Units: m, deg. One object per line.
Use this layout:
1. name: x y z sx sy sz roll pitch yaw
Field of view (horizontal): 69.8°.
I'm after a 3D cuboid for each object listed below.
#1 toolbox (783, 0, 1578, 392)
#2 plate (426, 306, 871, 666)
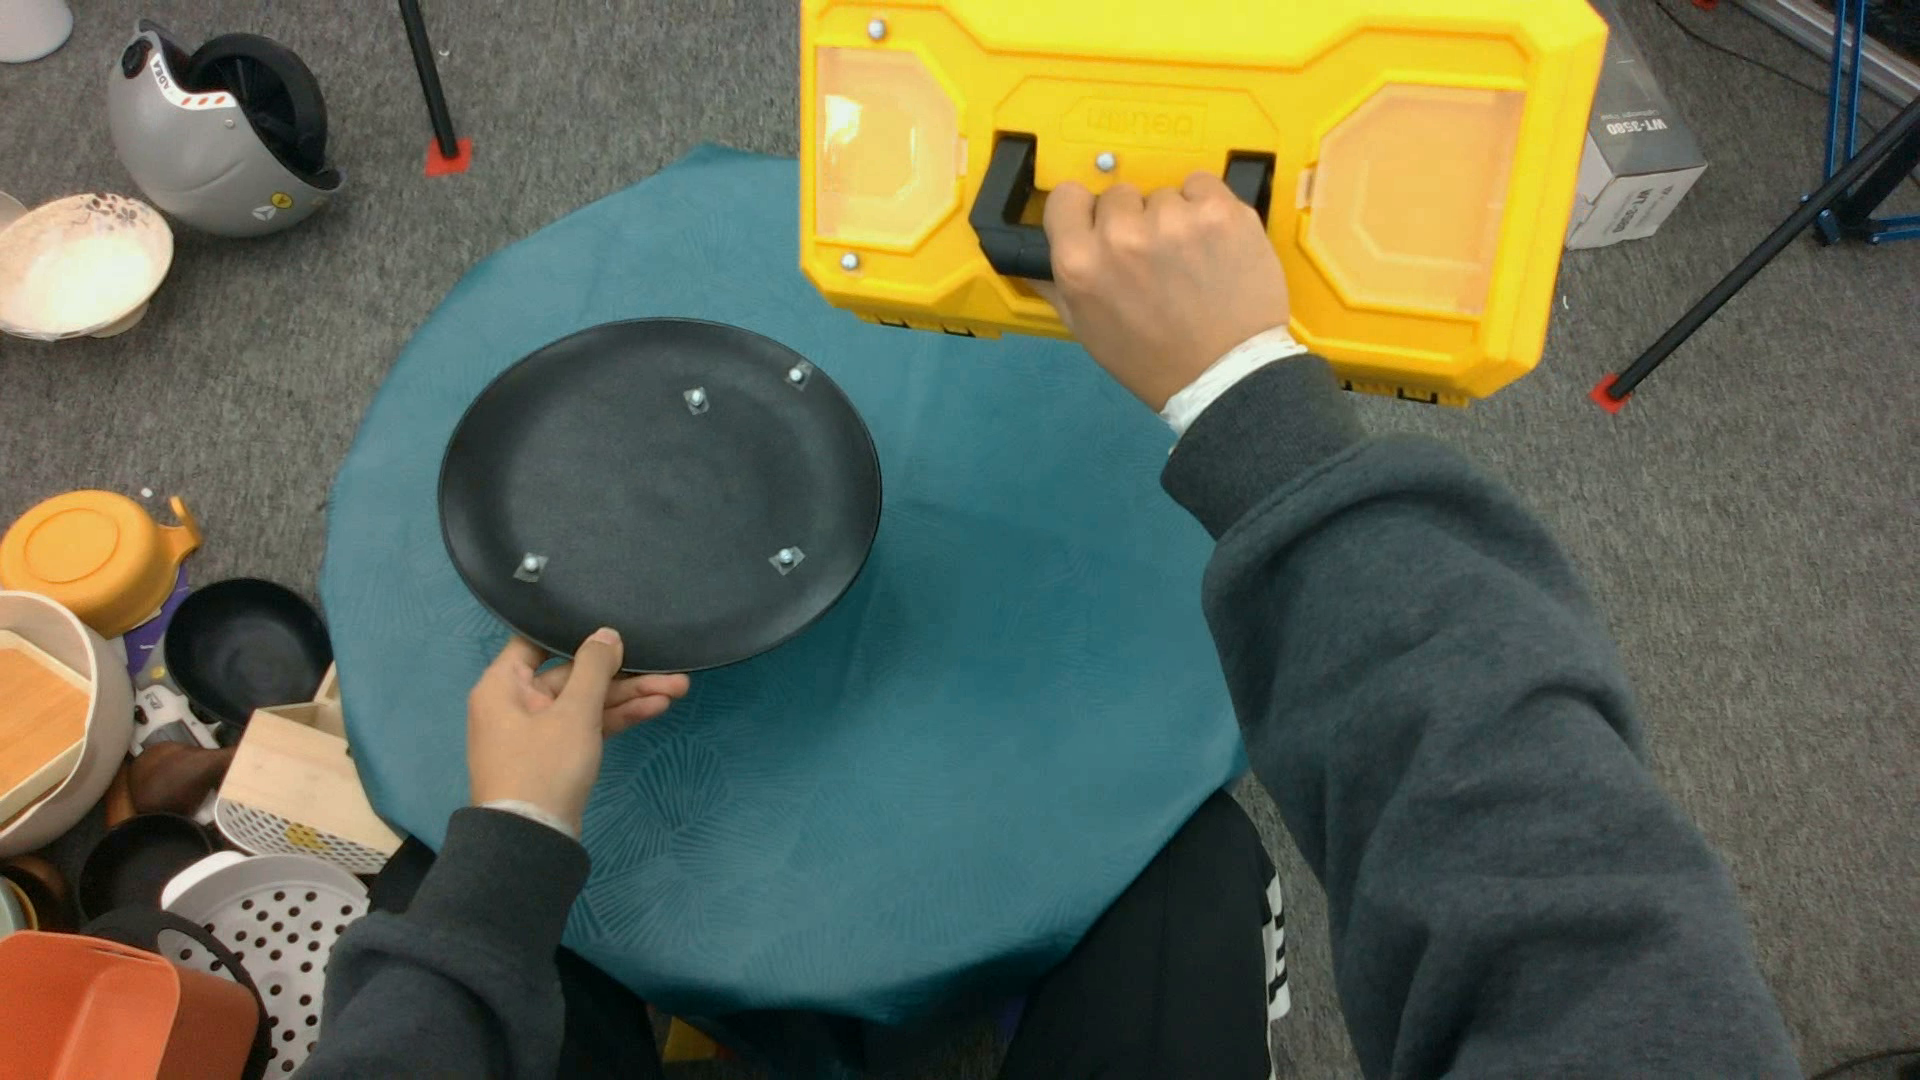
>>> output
1. toolbox: 0.097 -0.187 0.661 0.351 0.180 0.173 12 23 21
2. plate: -0.172 -0.033 0.781 0.244 0.023 0.245 5 57 -8
